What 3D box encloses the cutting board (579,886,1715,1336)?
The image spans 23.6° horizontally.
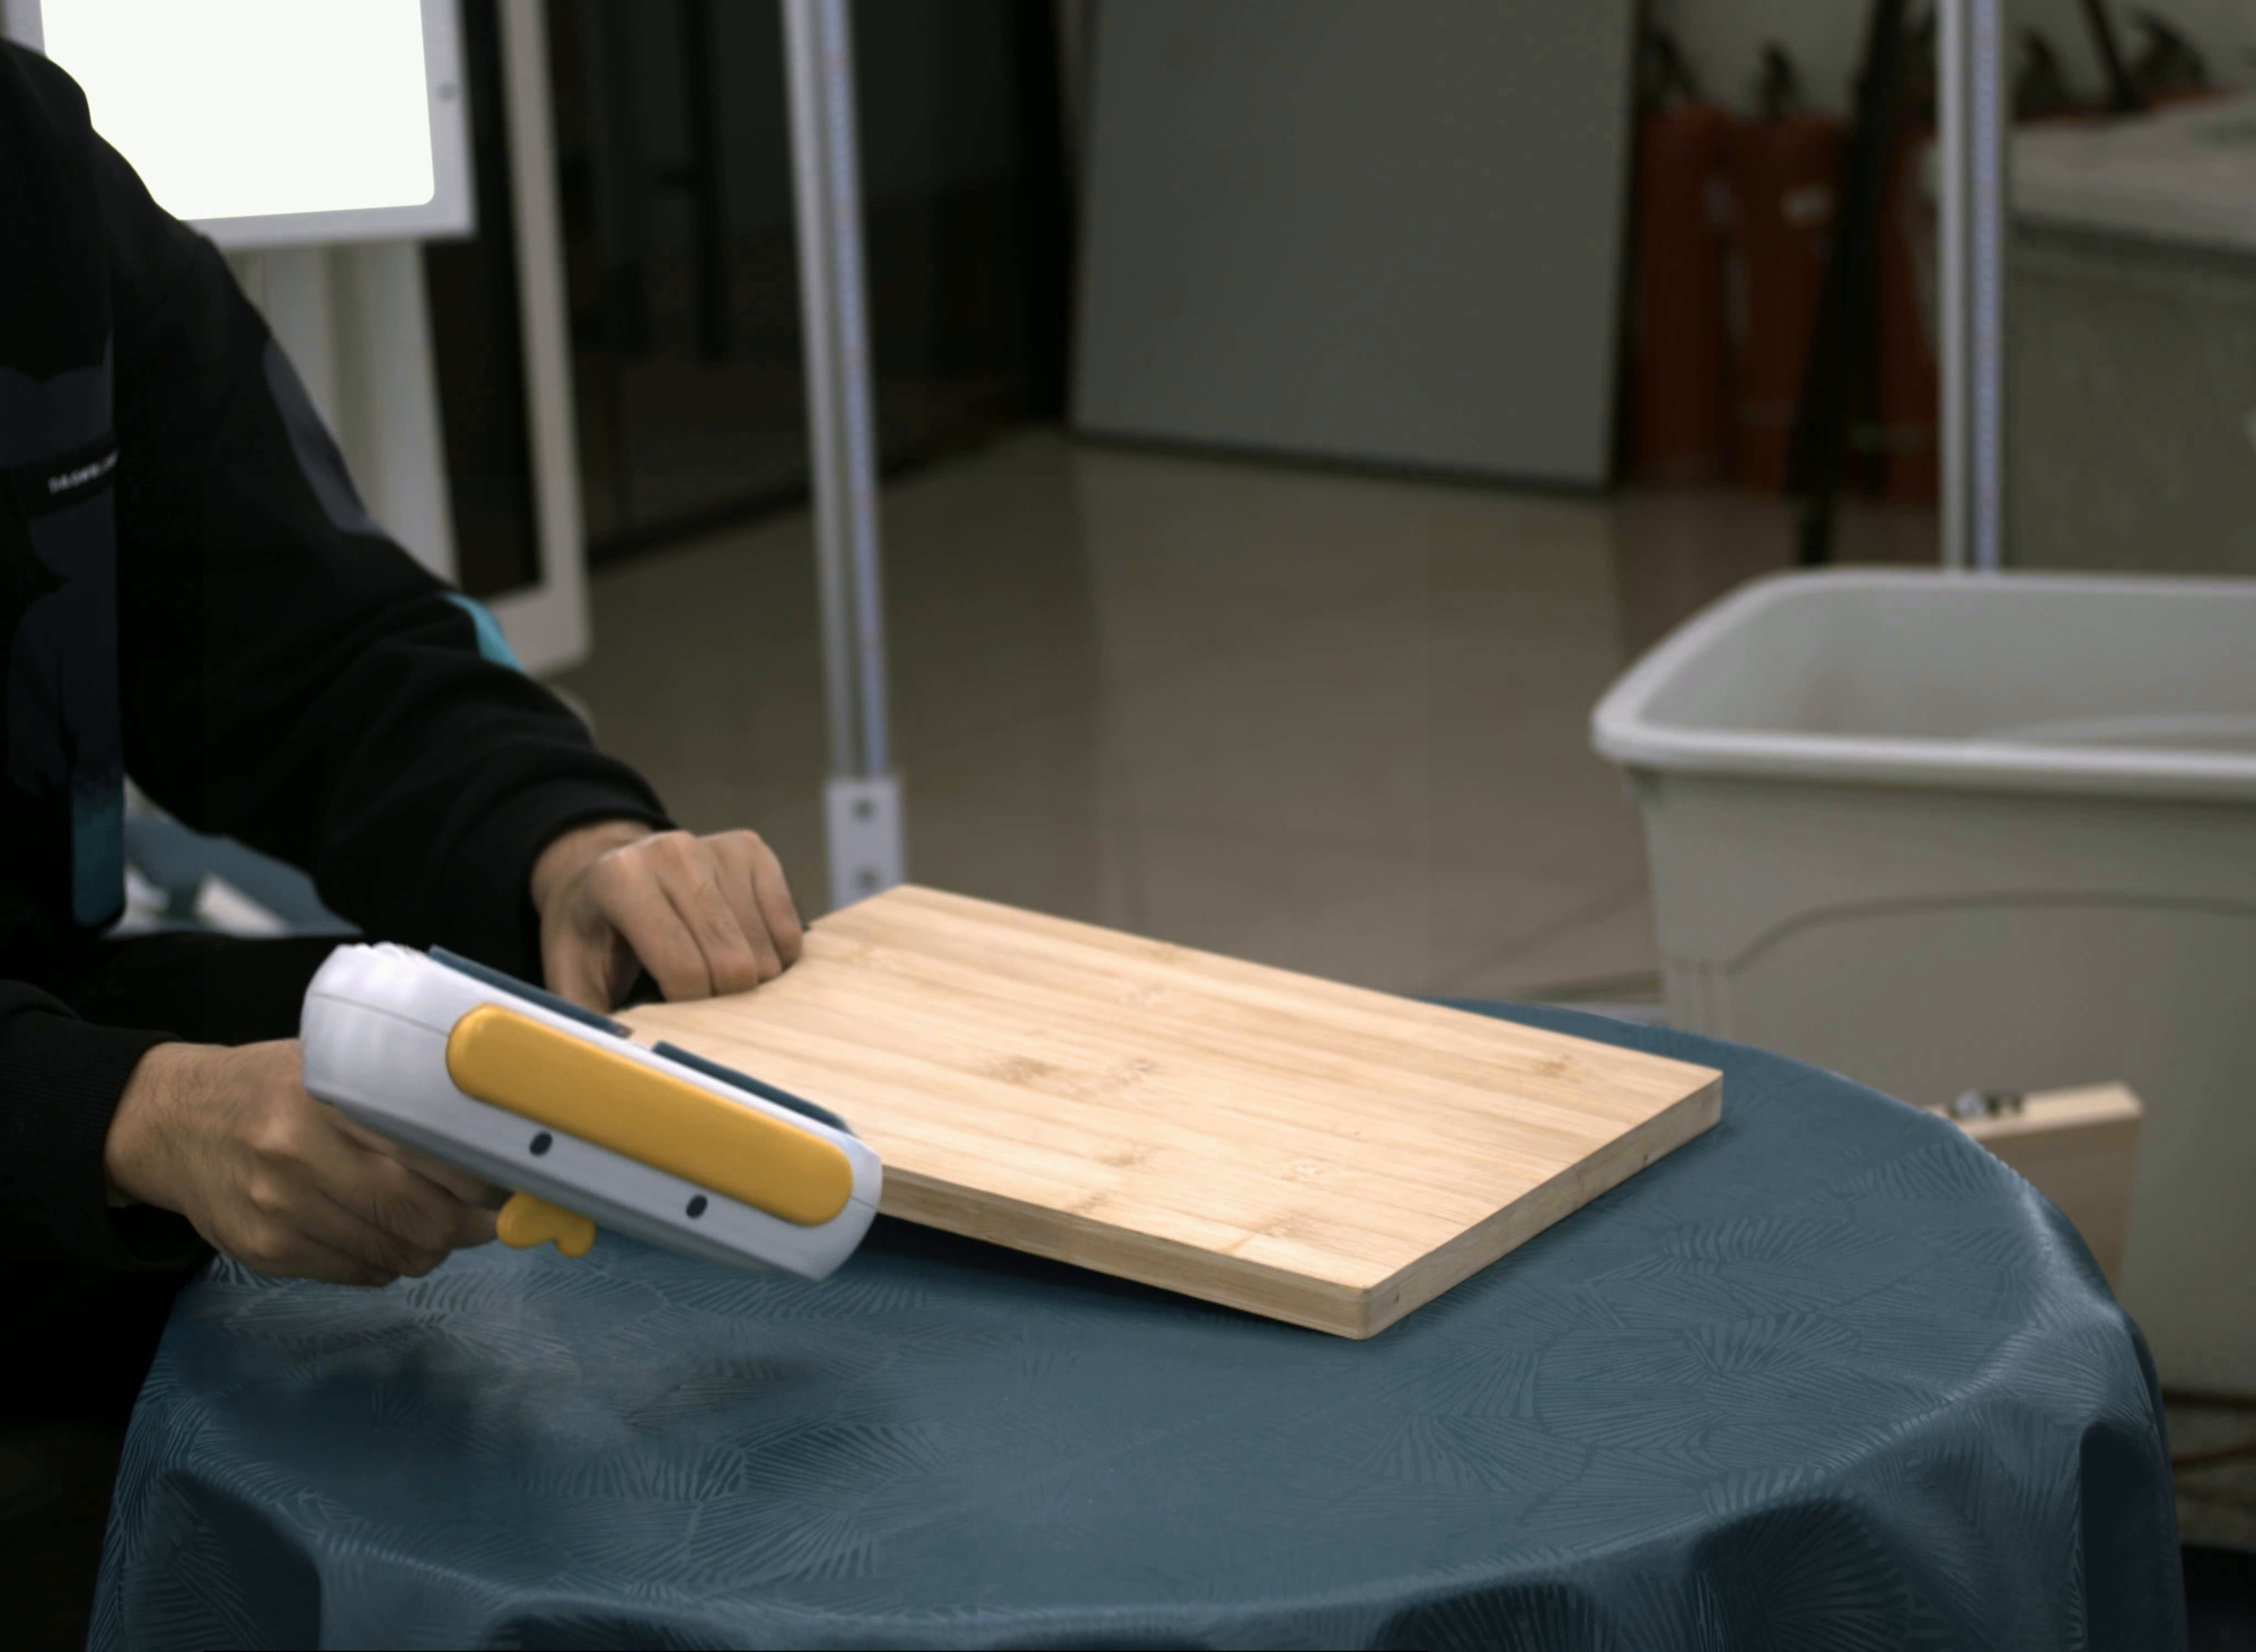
[{"bbox_3d":[-0.009,0.089,1.802,0.350,0.024,0.246,11,20,32],"label":"cutting board"}]

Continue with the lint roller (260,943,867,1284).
[{"bbox_3d":[-0.196,0.096,1.626,0.189,0.075,0.194,19,-16,-31],"label":"lint roller"}]
